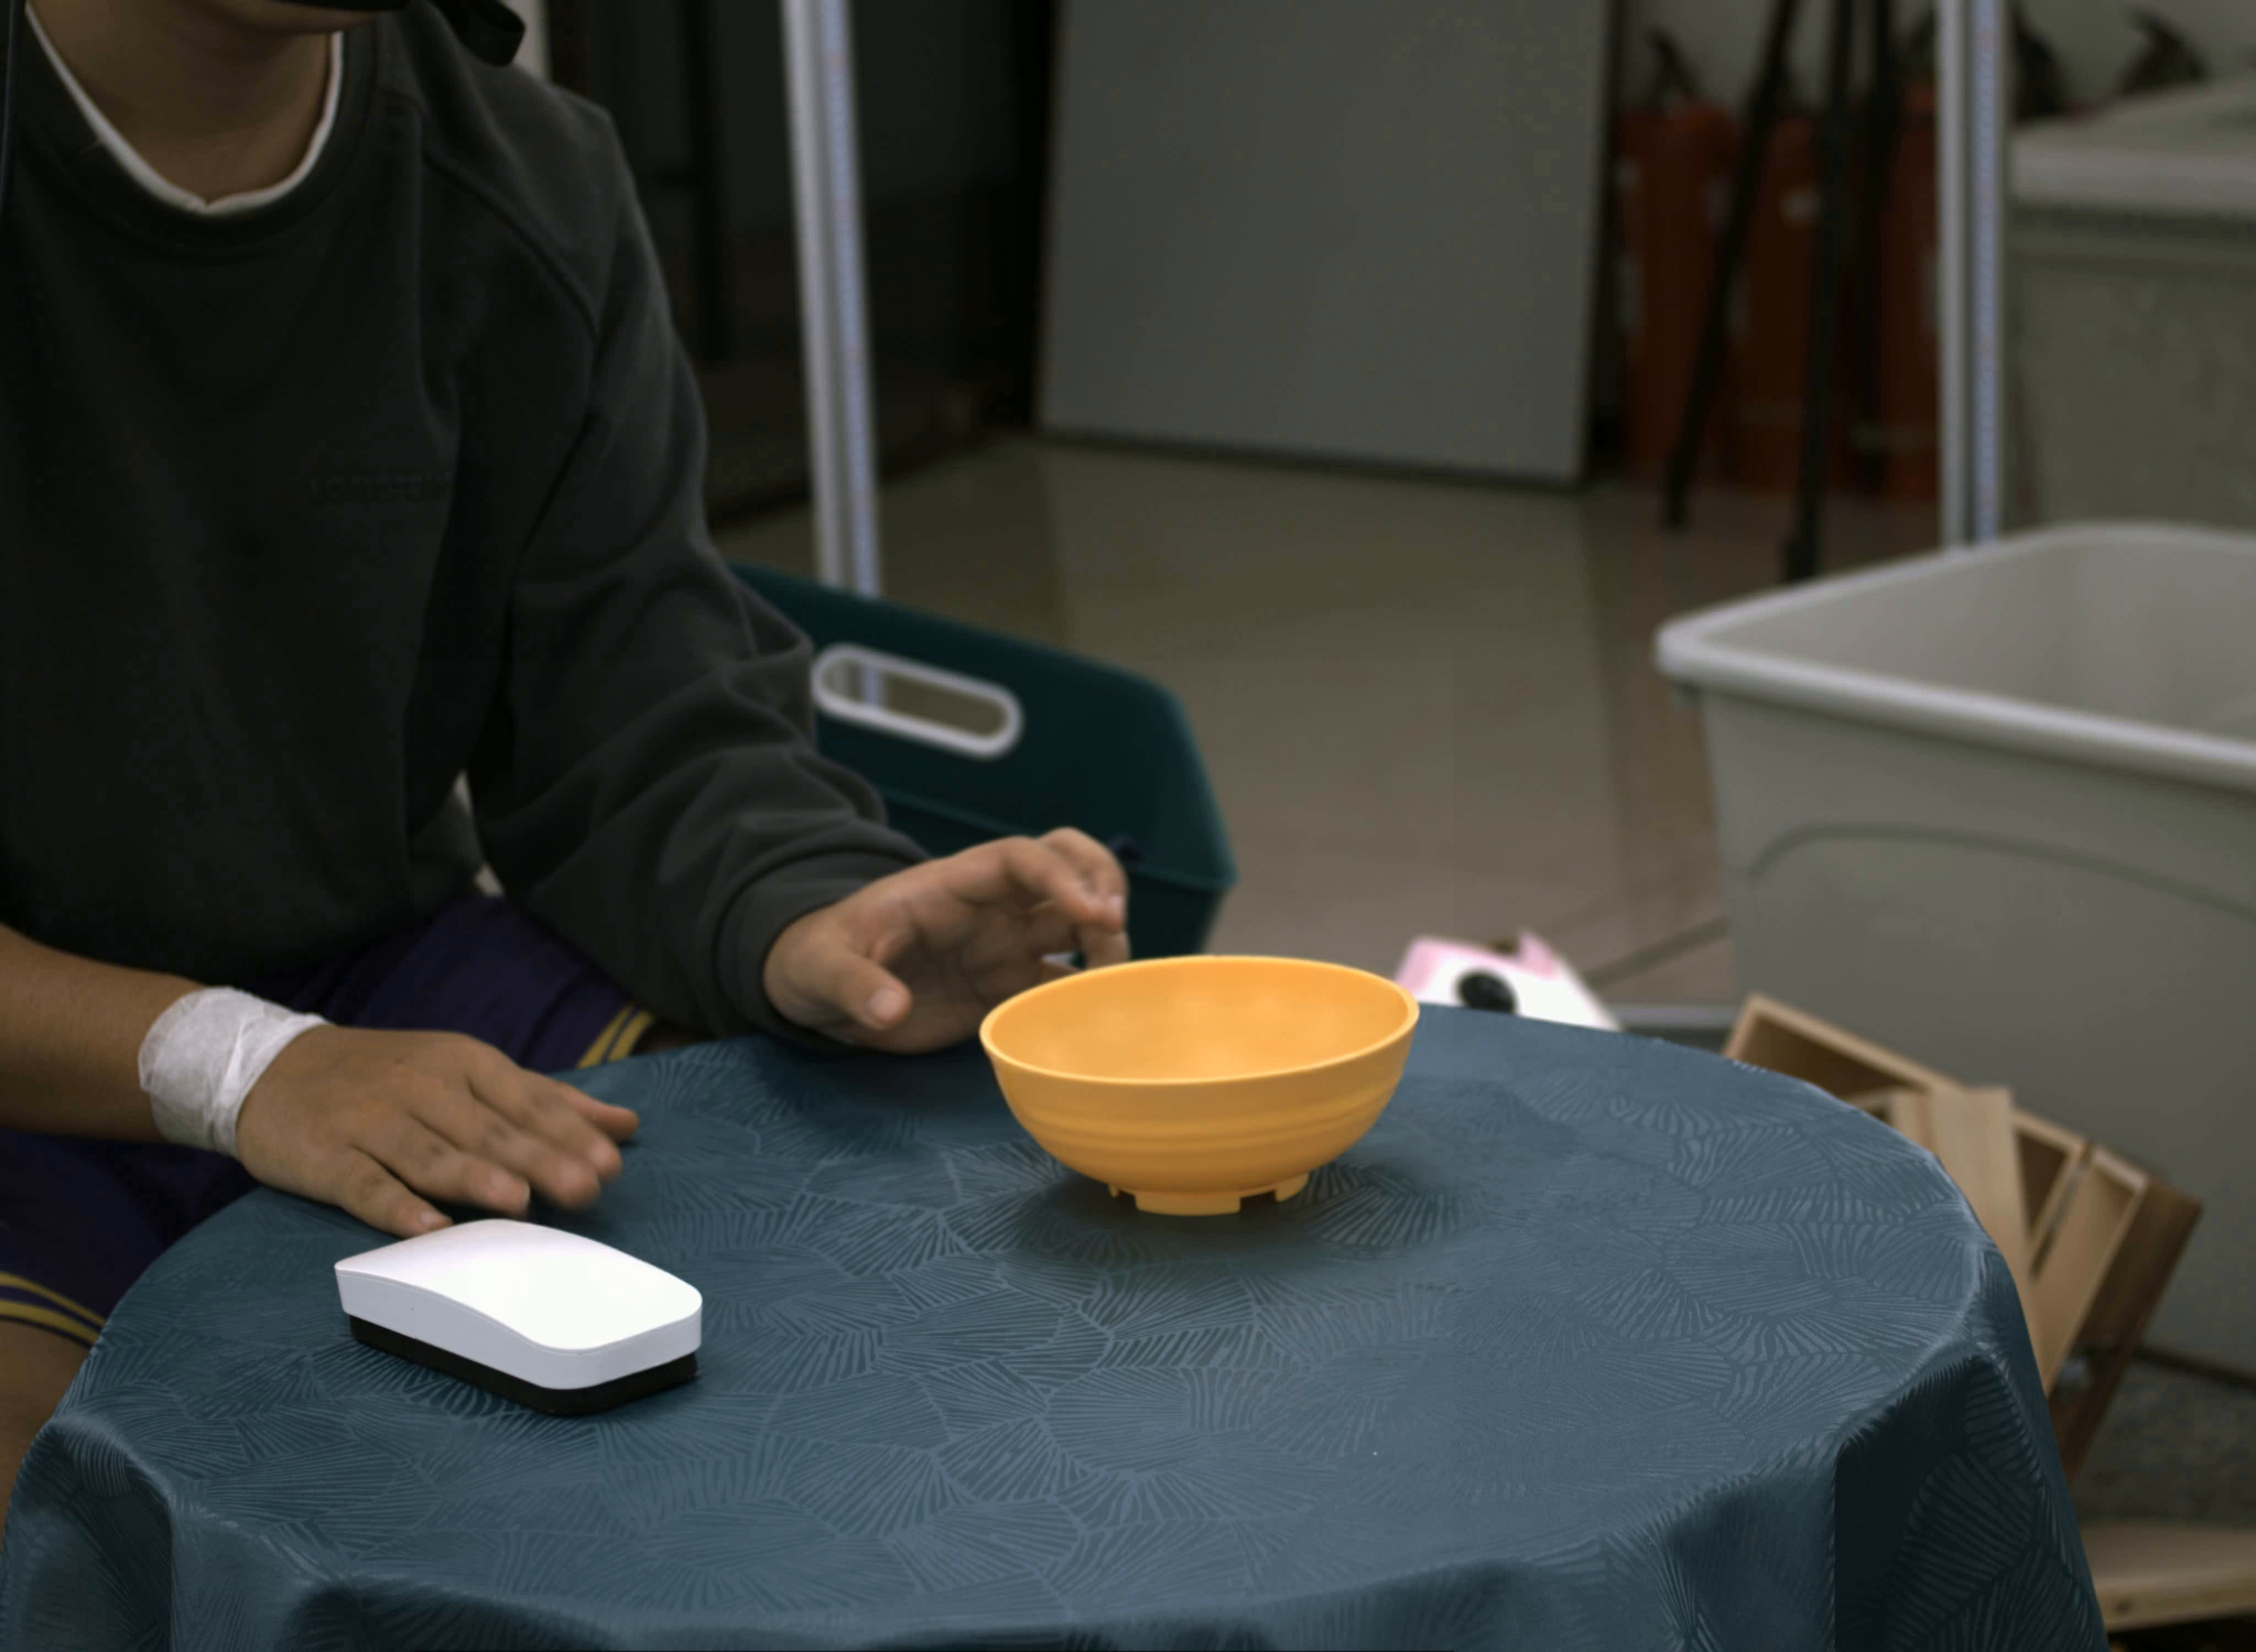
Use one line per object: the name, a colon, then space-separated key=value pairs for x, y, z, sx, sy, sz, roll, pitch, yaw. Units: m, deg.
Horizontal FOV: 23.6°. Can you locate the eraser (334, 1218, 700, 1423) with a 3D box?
eraser: x=-0.185 y=0.147 z=1.648 sx=0.062 sy=0.035 sz=0.132 roll=-14 pitch=18 yaw=-37

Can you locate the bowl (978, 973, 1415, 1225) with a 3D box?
bowl: x=0.024 y=0.093 z=1.762 sx=0.143 sy=0.061 sz=0.145 roll=-4 pitch=11 yaw=0
